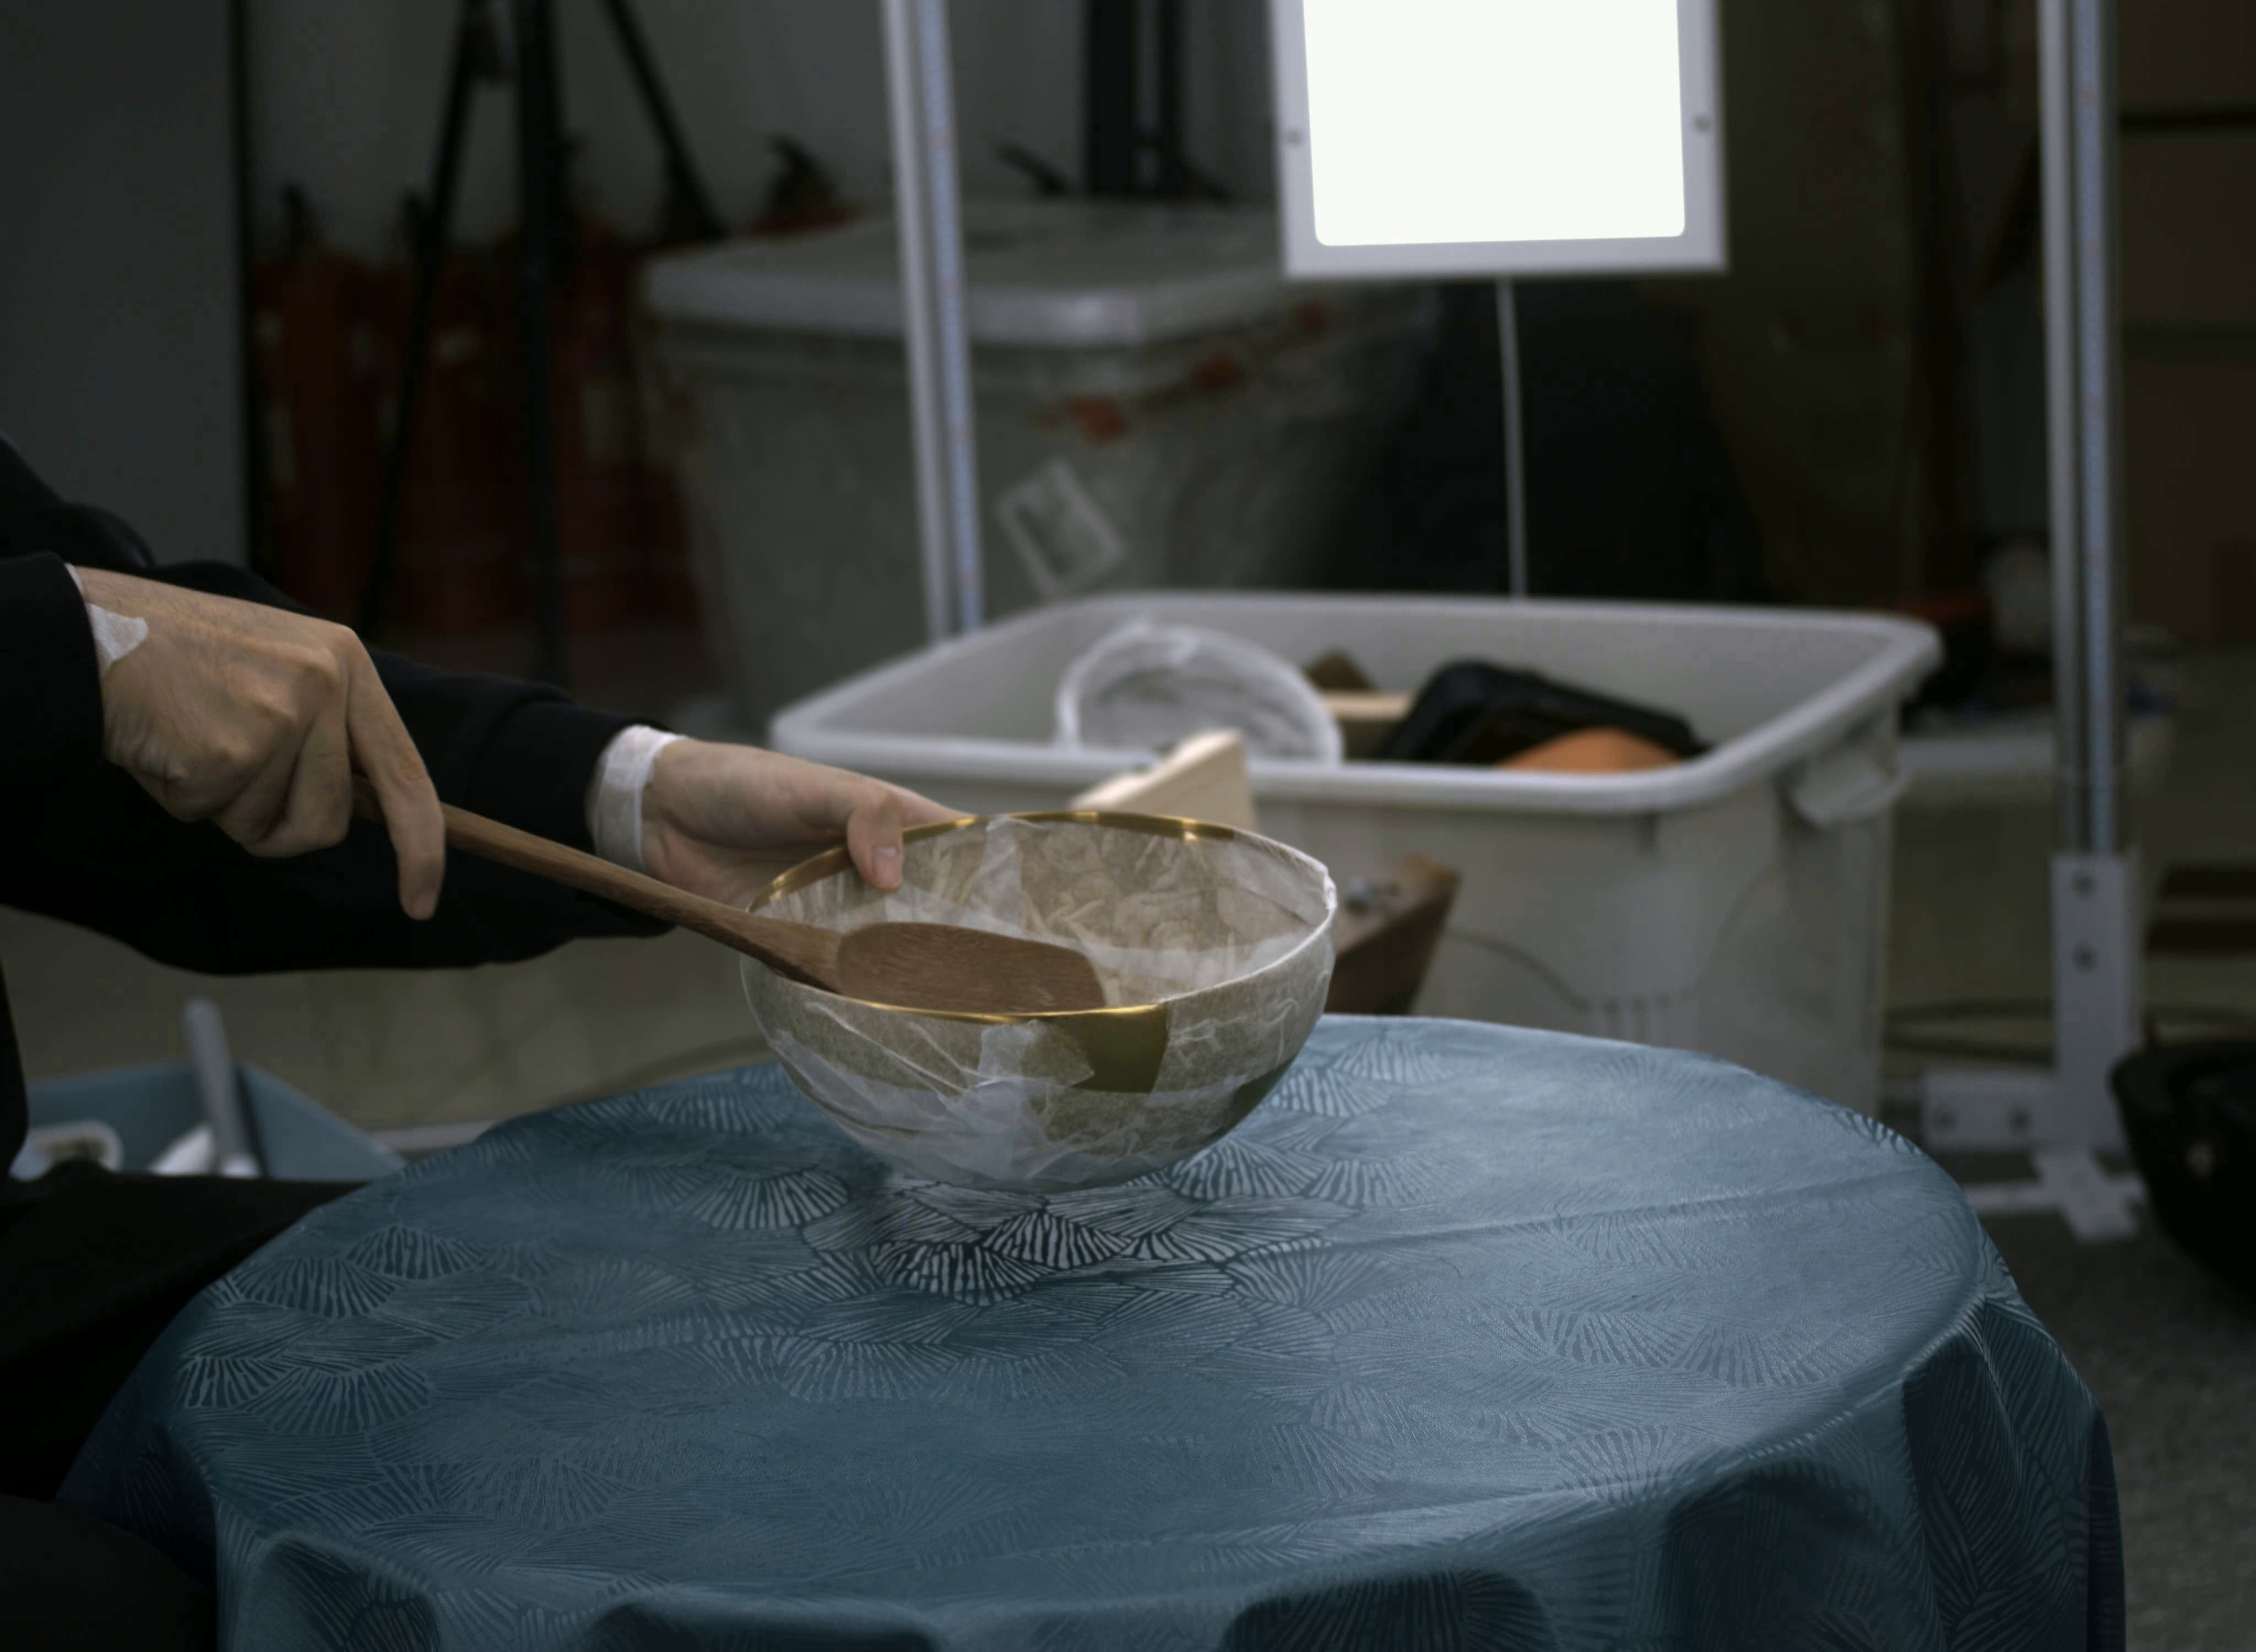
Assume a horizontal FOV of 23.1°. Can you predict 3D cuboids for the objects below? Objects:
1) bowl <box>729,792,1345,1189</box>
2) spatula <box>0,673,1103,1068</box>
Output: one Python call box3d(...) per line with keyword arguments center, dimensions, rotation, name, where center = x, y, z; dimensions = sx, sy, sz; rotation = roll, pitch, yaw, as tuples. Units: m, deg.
box3d(center=(-0.030, 0.064, 1.855), dimensions=(0.214, 0.095, 0.214), rotation=(-2, 21, -1), name="bowl")
box3d(center=(-0.189, 0.010, 1.798), dimensions=(0.385, 0.016, 0.095), rotation=(18, 22, 0), name="spatula")
